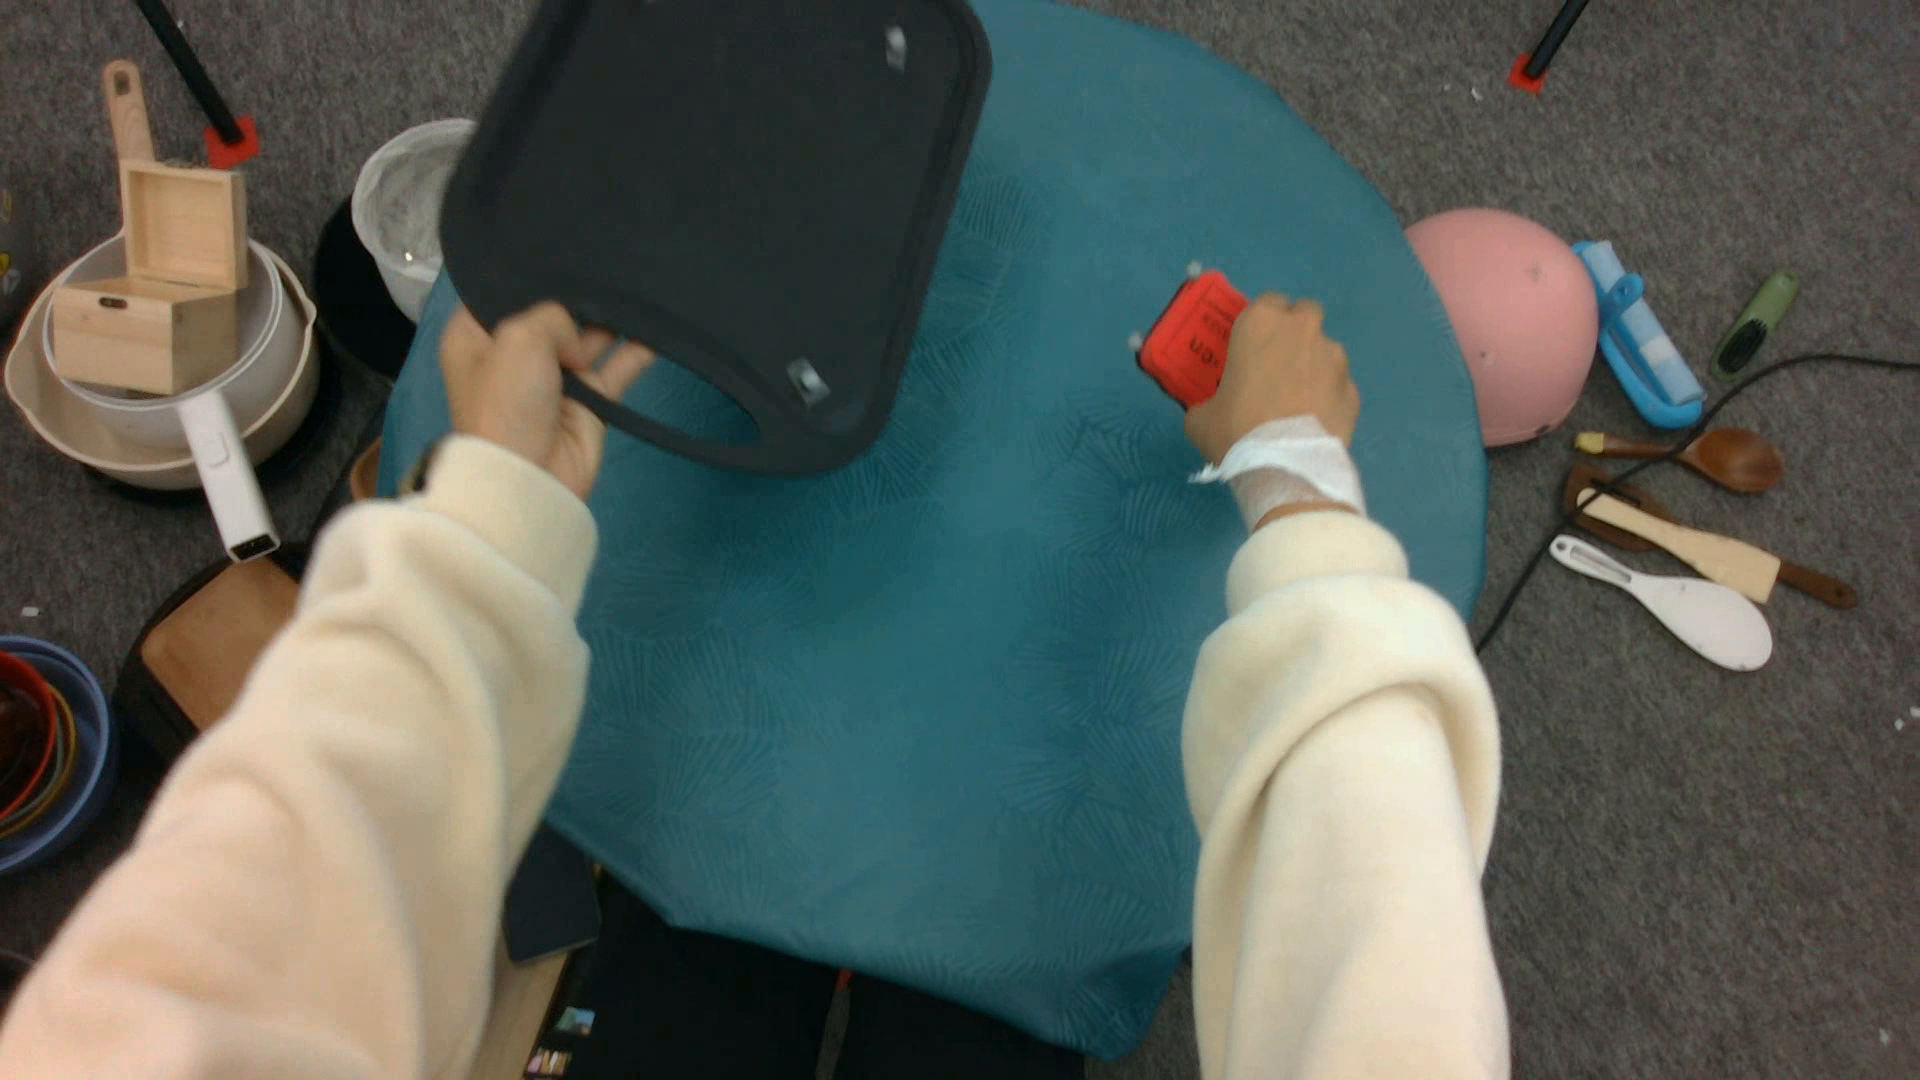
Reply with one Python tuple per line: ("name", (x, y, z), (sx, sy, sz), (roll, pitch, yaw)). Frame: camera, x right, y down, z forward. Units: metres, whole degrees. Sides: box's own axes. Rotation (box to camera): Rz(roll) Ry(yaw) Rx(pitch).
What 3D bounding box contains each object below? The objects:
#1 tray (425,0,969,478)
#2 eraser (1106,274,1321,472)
("tray", (-0.111, -0.181, 0.662), (0.211, 0.010, 0.327), (26, 59, -19))
("eraser", (0.131, -0.085, 0.712), (0.108, 0.023, 0.059), (35, 84, -15))
